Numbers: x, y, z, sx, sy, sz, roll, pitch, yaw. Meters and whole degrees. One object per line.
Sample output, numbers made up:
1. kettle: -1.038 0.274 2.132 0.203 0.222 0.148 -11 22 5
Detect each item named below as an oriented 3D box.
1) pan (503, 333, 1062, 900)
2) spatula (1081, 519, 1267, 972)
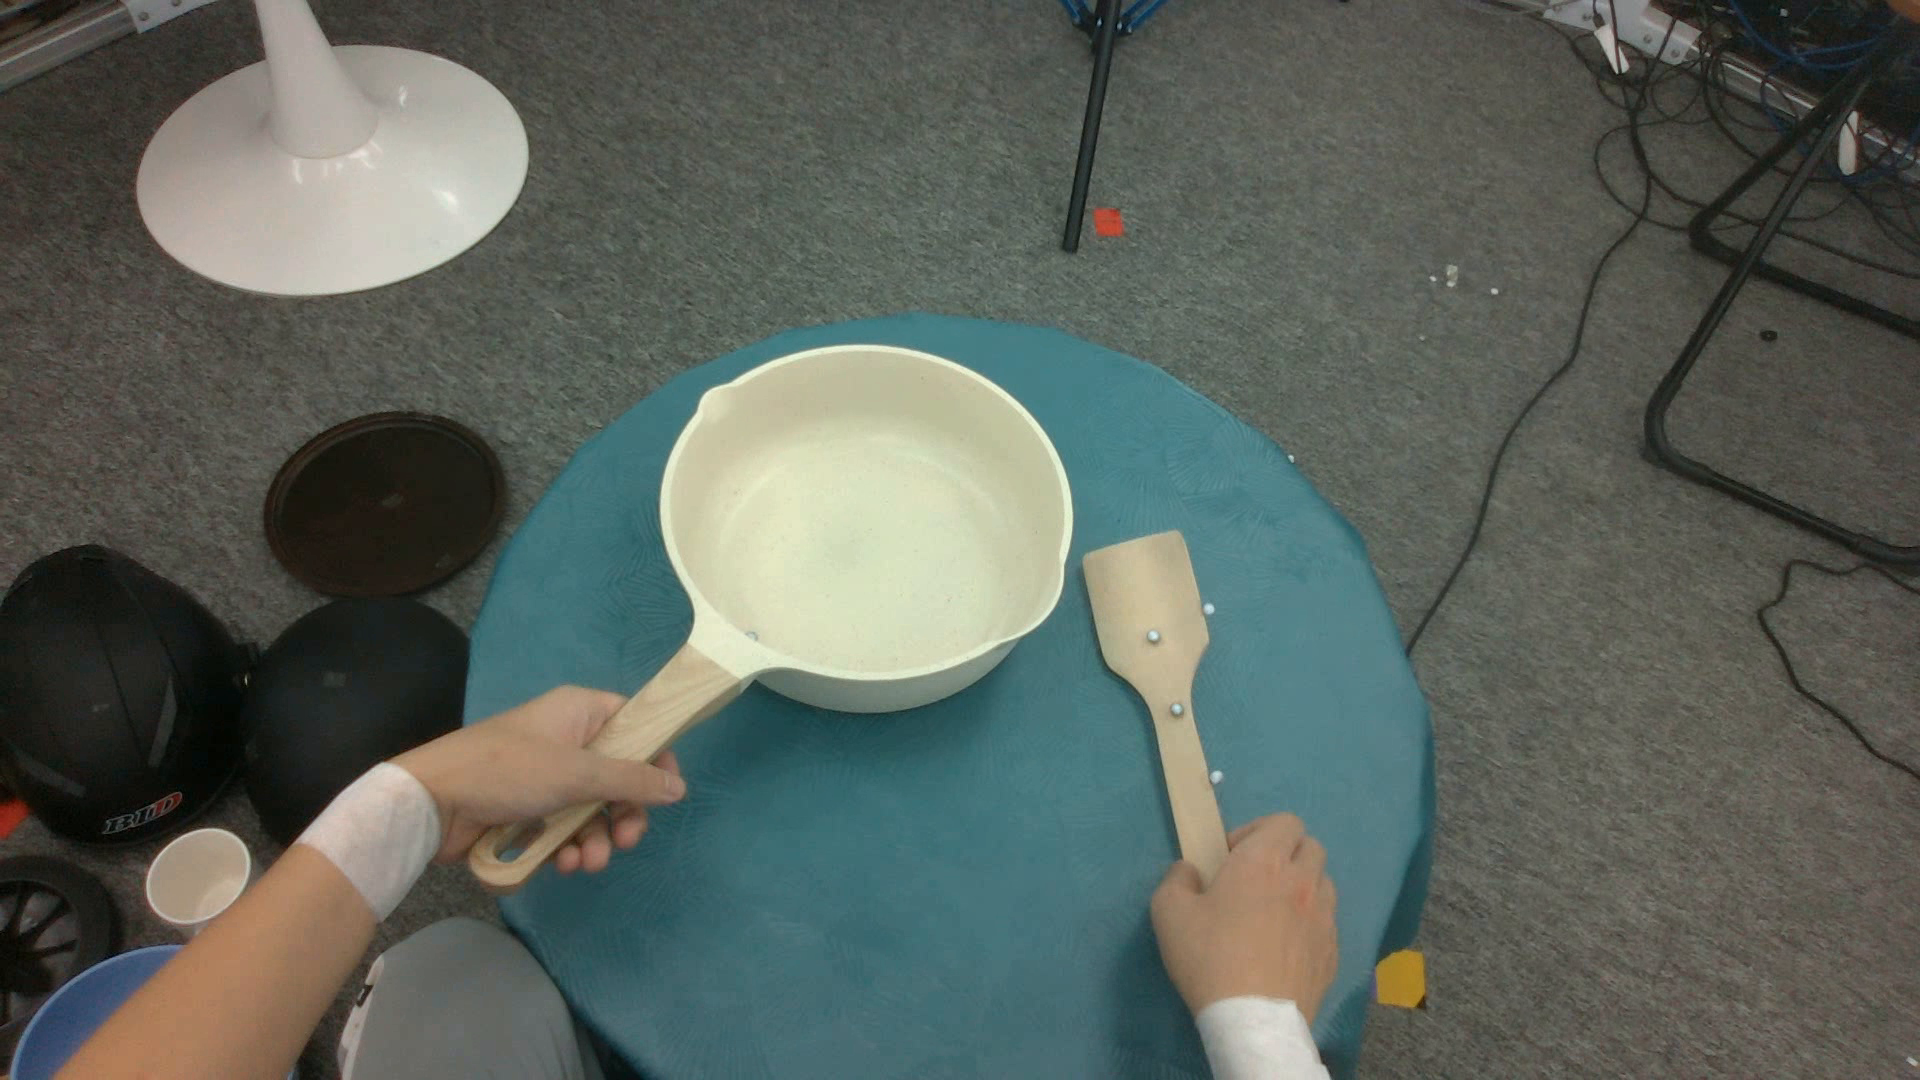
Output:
1. pan: -0.112 0.048 0.833 0.263 0.101 0.437 31 59 13
2. spatula: 0.138 0.118 0.848 0.072 0.010 0.294 -20 58 14
